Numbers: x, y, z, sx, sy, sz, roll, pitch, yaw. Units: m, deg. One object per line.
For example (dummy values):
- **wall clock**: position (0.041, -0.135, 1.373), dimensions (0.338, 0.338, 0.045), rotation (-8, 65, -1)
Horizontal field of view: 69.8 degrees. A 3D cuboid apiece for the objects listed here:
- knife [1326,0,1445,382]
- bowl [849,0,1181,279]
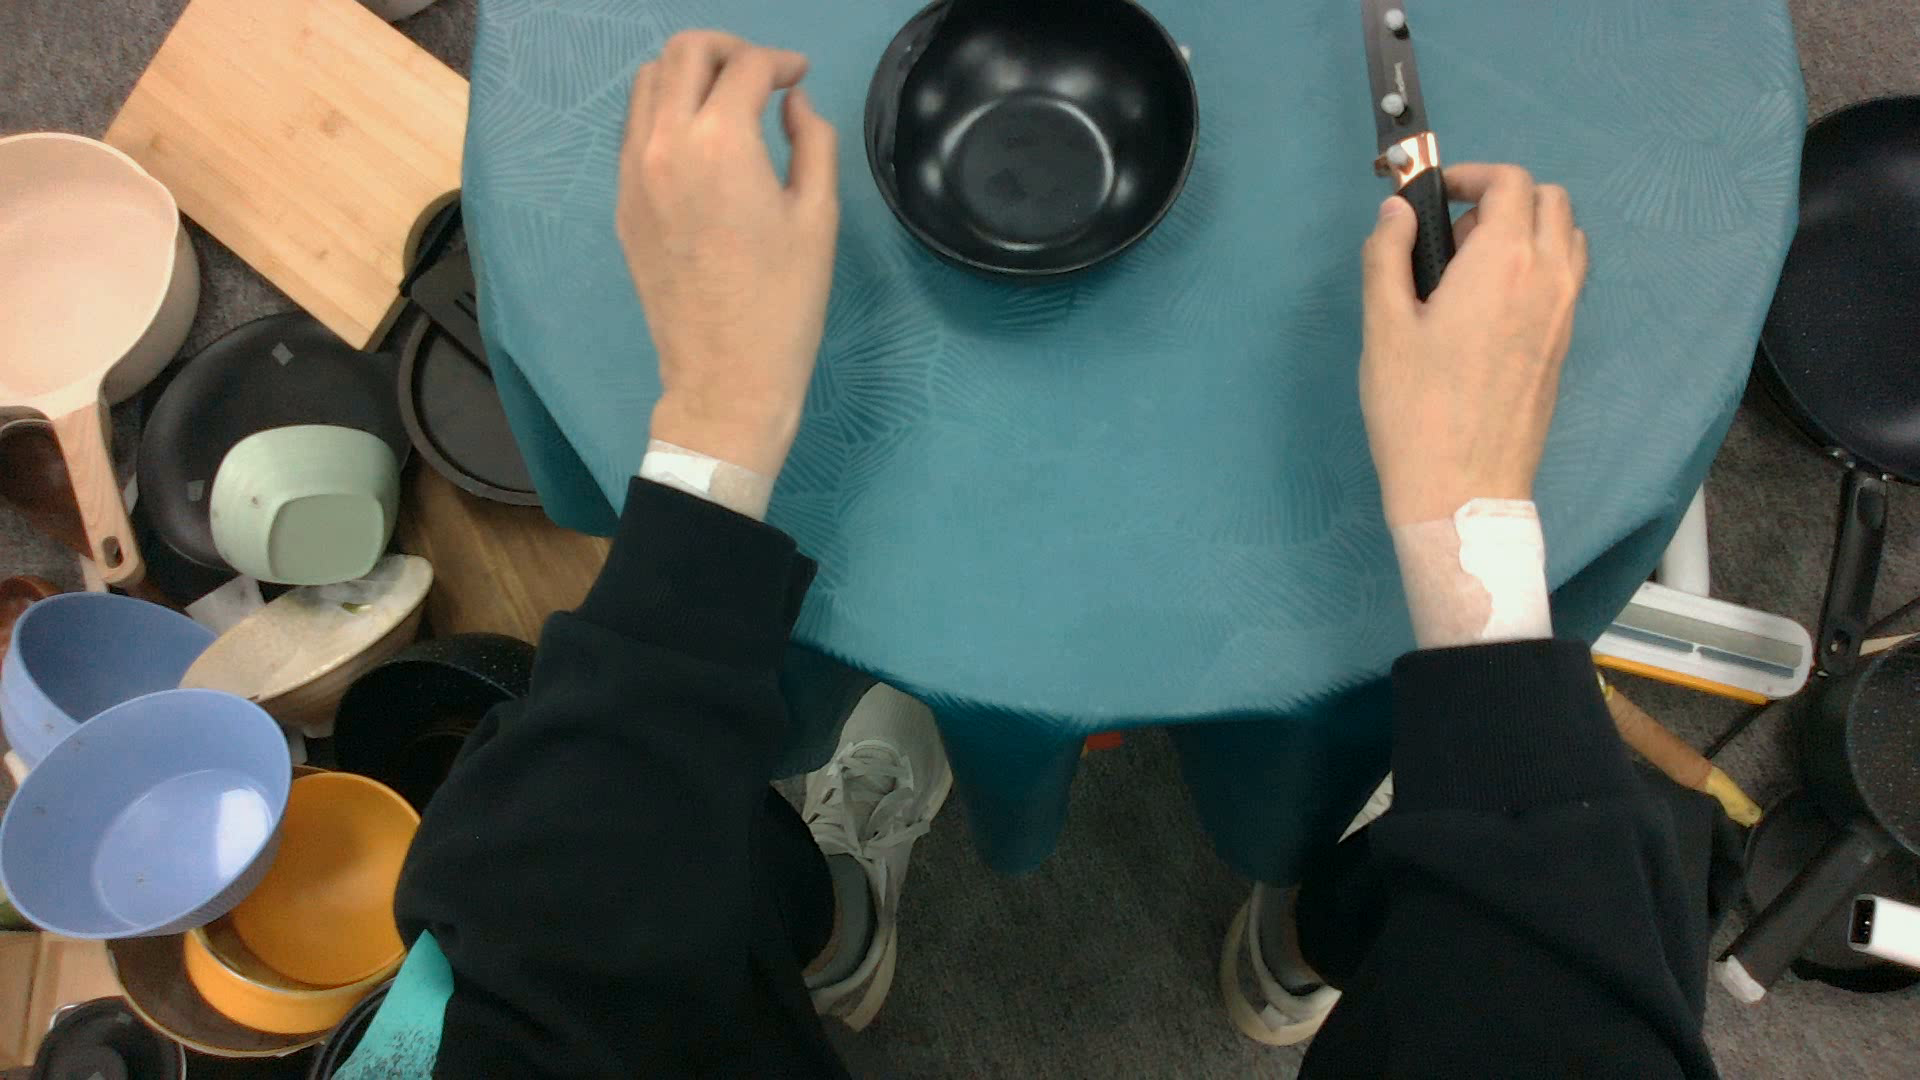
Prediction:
- **knife**: position (0.175, -0.167, 0.577), dimensions (0.026, 0.017, 0.226), rotation (-15, 66, 29)
- **bowl**: position (0.023, -0.174, 0.596), dimensions (0.140, 0.049, 0.140), rotation (0, 81, 1)
